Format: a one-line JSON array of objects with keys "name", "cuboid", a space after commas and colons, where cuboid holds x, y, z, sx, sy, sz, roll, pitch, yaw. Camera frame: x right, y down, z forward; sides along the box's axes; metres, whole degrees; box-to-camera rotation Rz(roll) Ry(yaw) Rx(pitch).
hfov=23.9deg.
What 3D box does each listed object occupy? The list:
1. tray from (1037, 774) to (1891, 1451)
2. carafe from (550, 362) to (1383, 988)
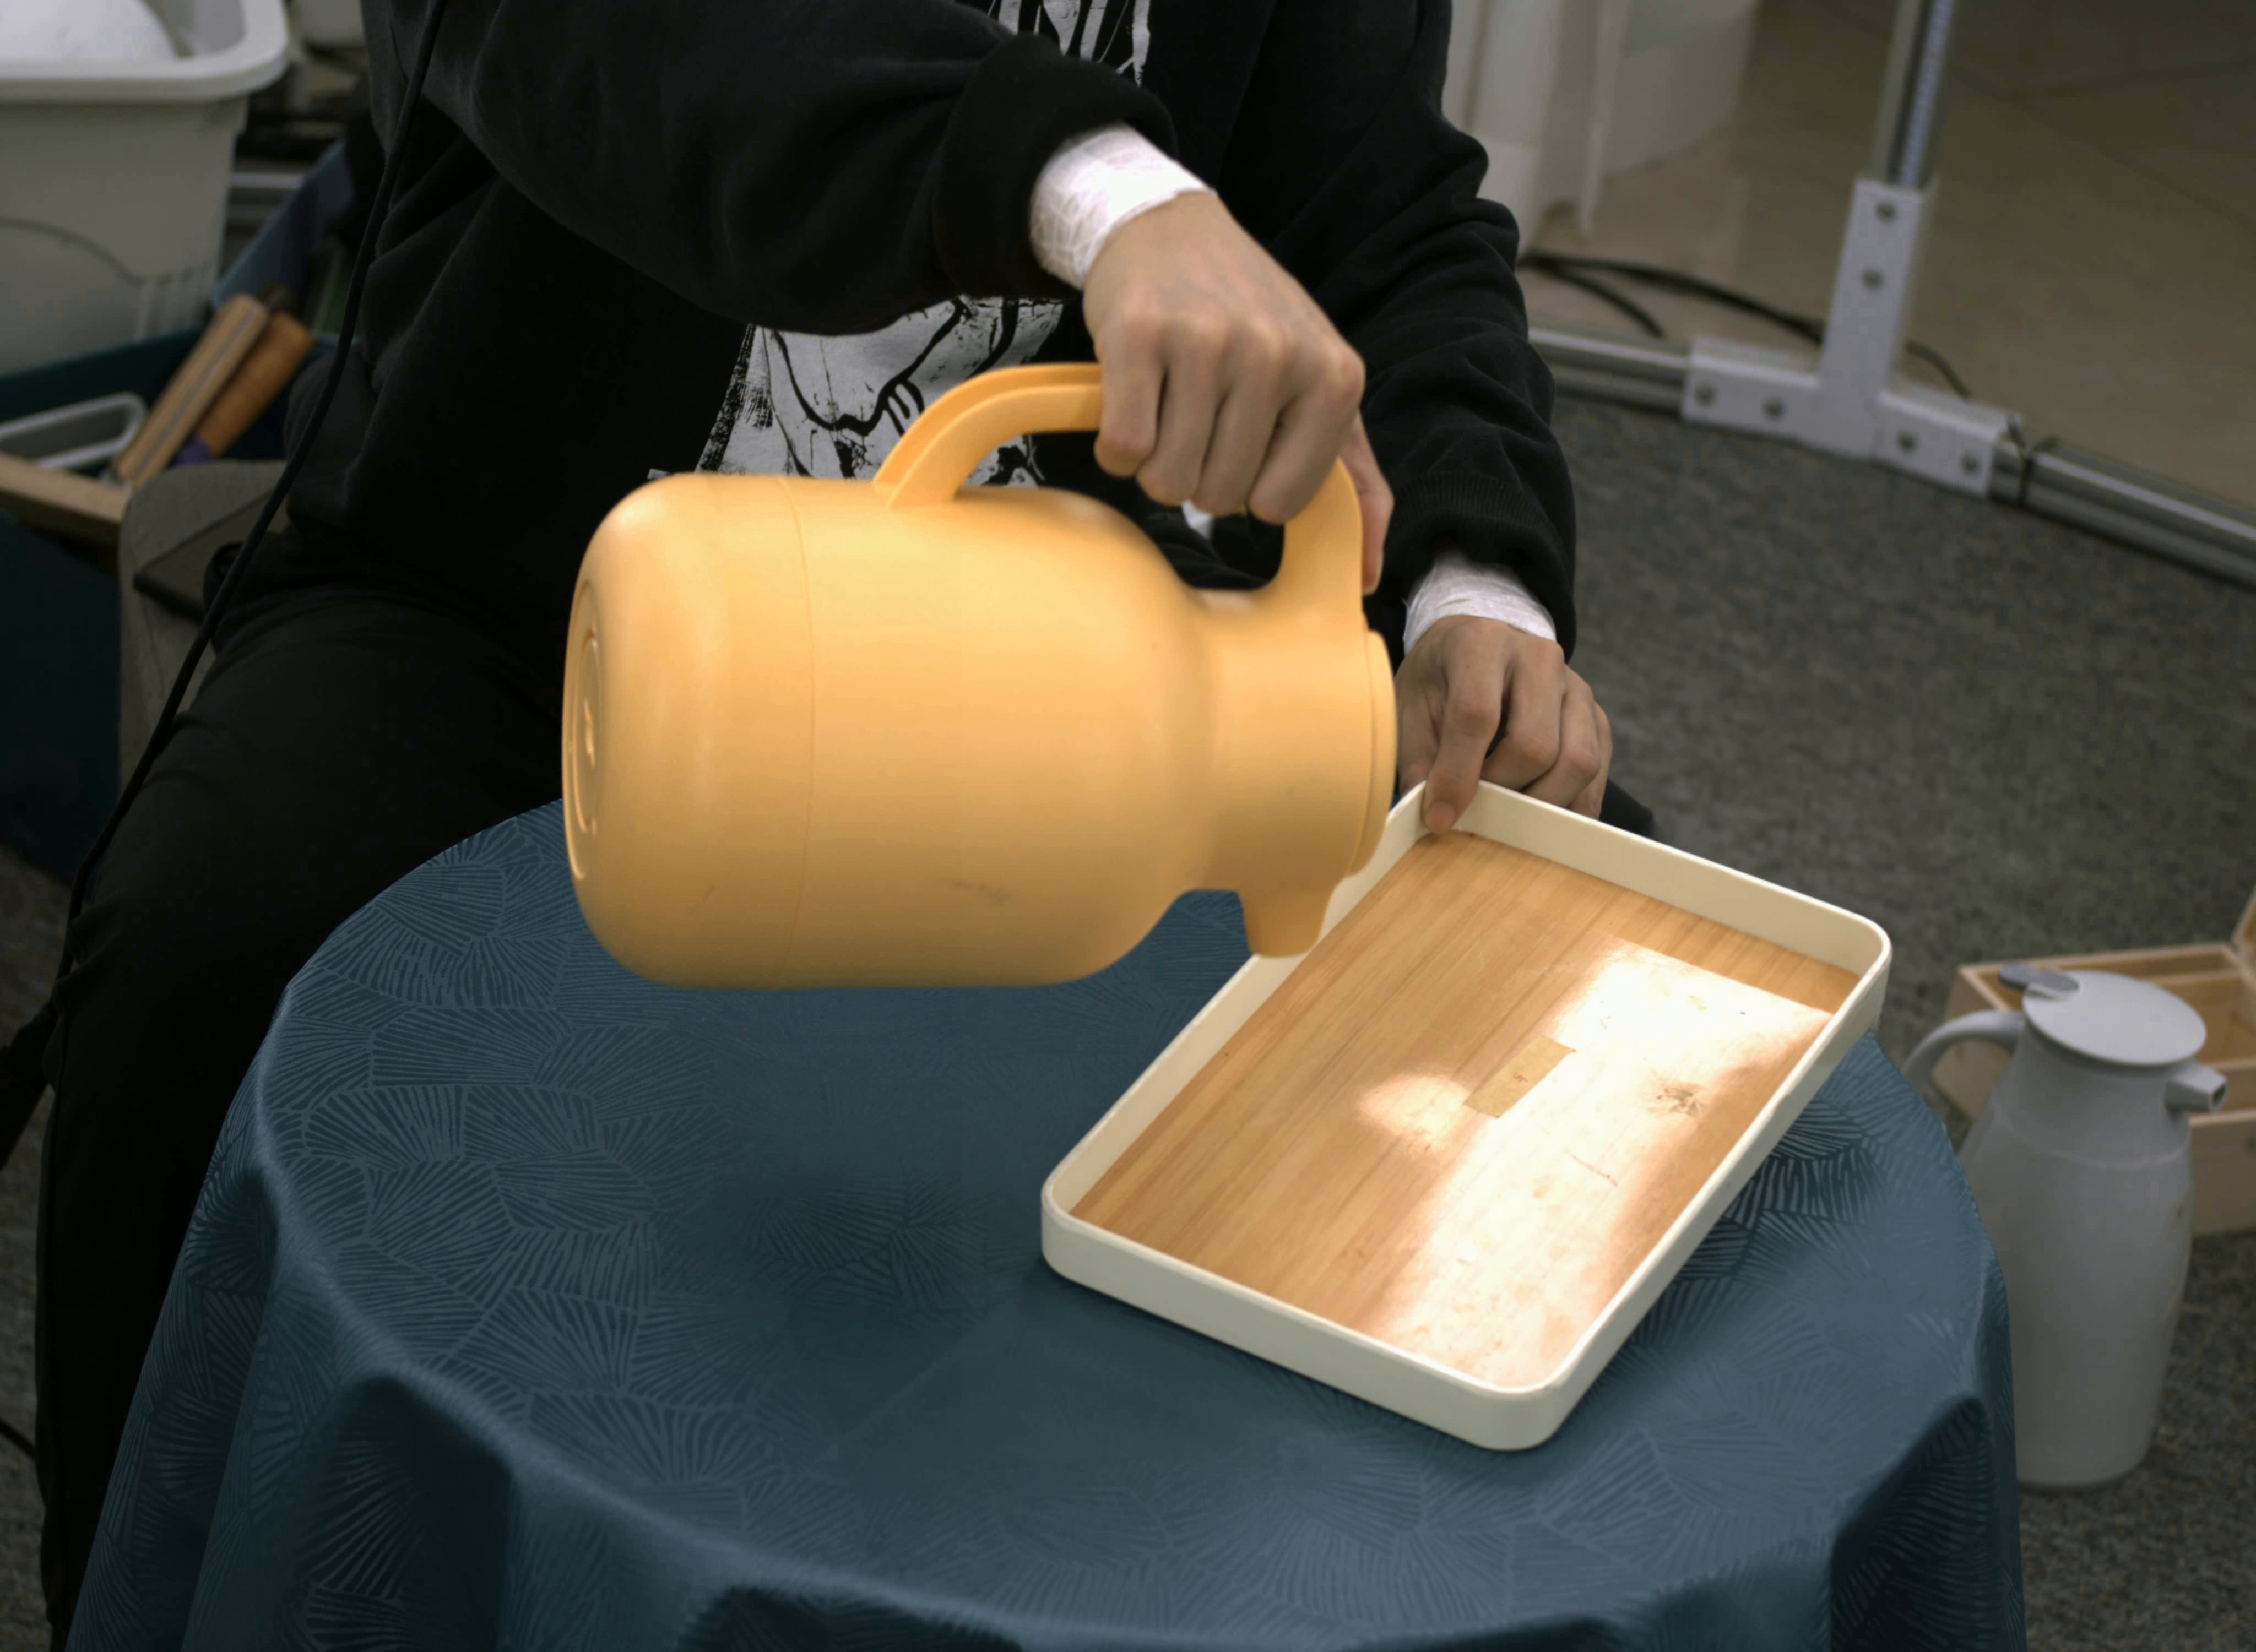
[{"name": "tray", "cuboid": [0.119, 0.090, 1.815, 0.192, 0.027, 0.300, 20, 39, 23]}, {"name": "carafe", "cuboid": [-0.049, -0.048, 1.695, 0.259, 0.202, 0.164, 2, 16, -14]}]
